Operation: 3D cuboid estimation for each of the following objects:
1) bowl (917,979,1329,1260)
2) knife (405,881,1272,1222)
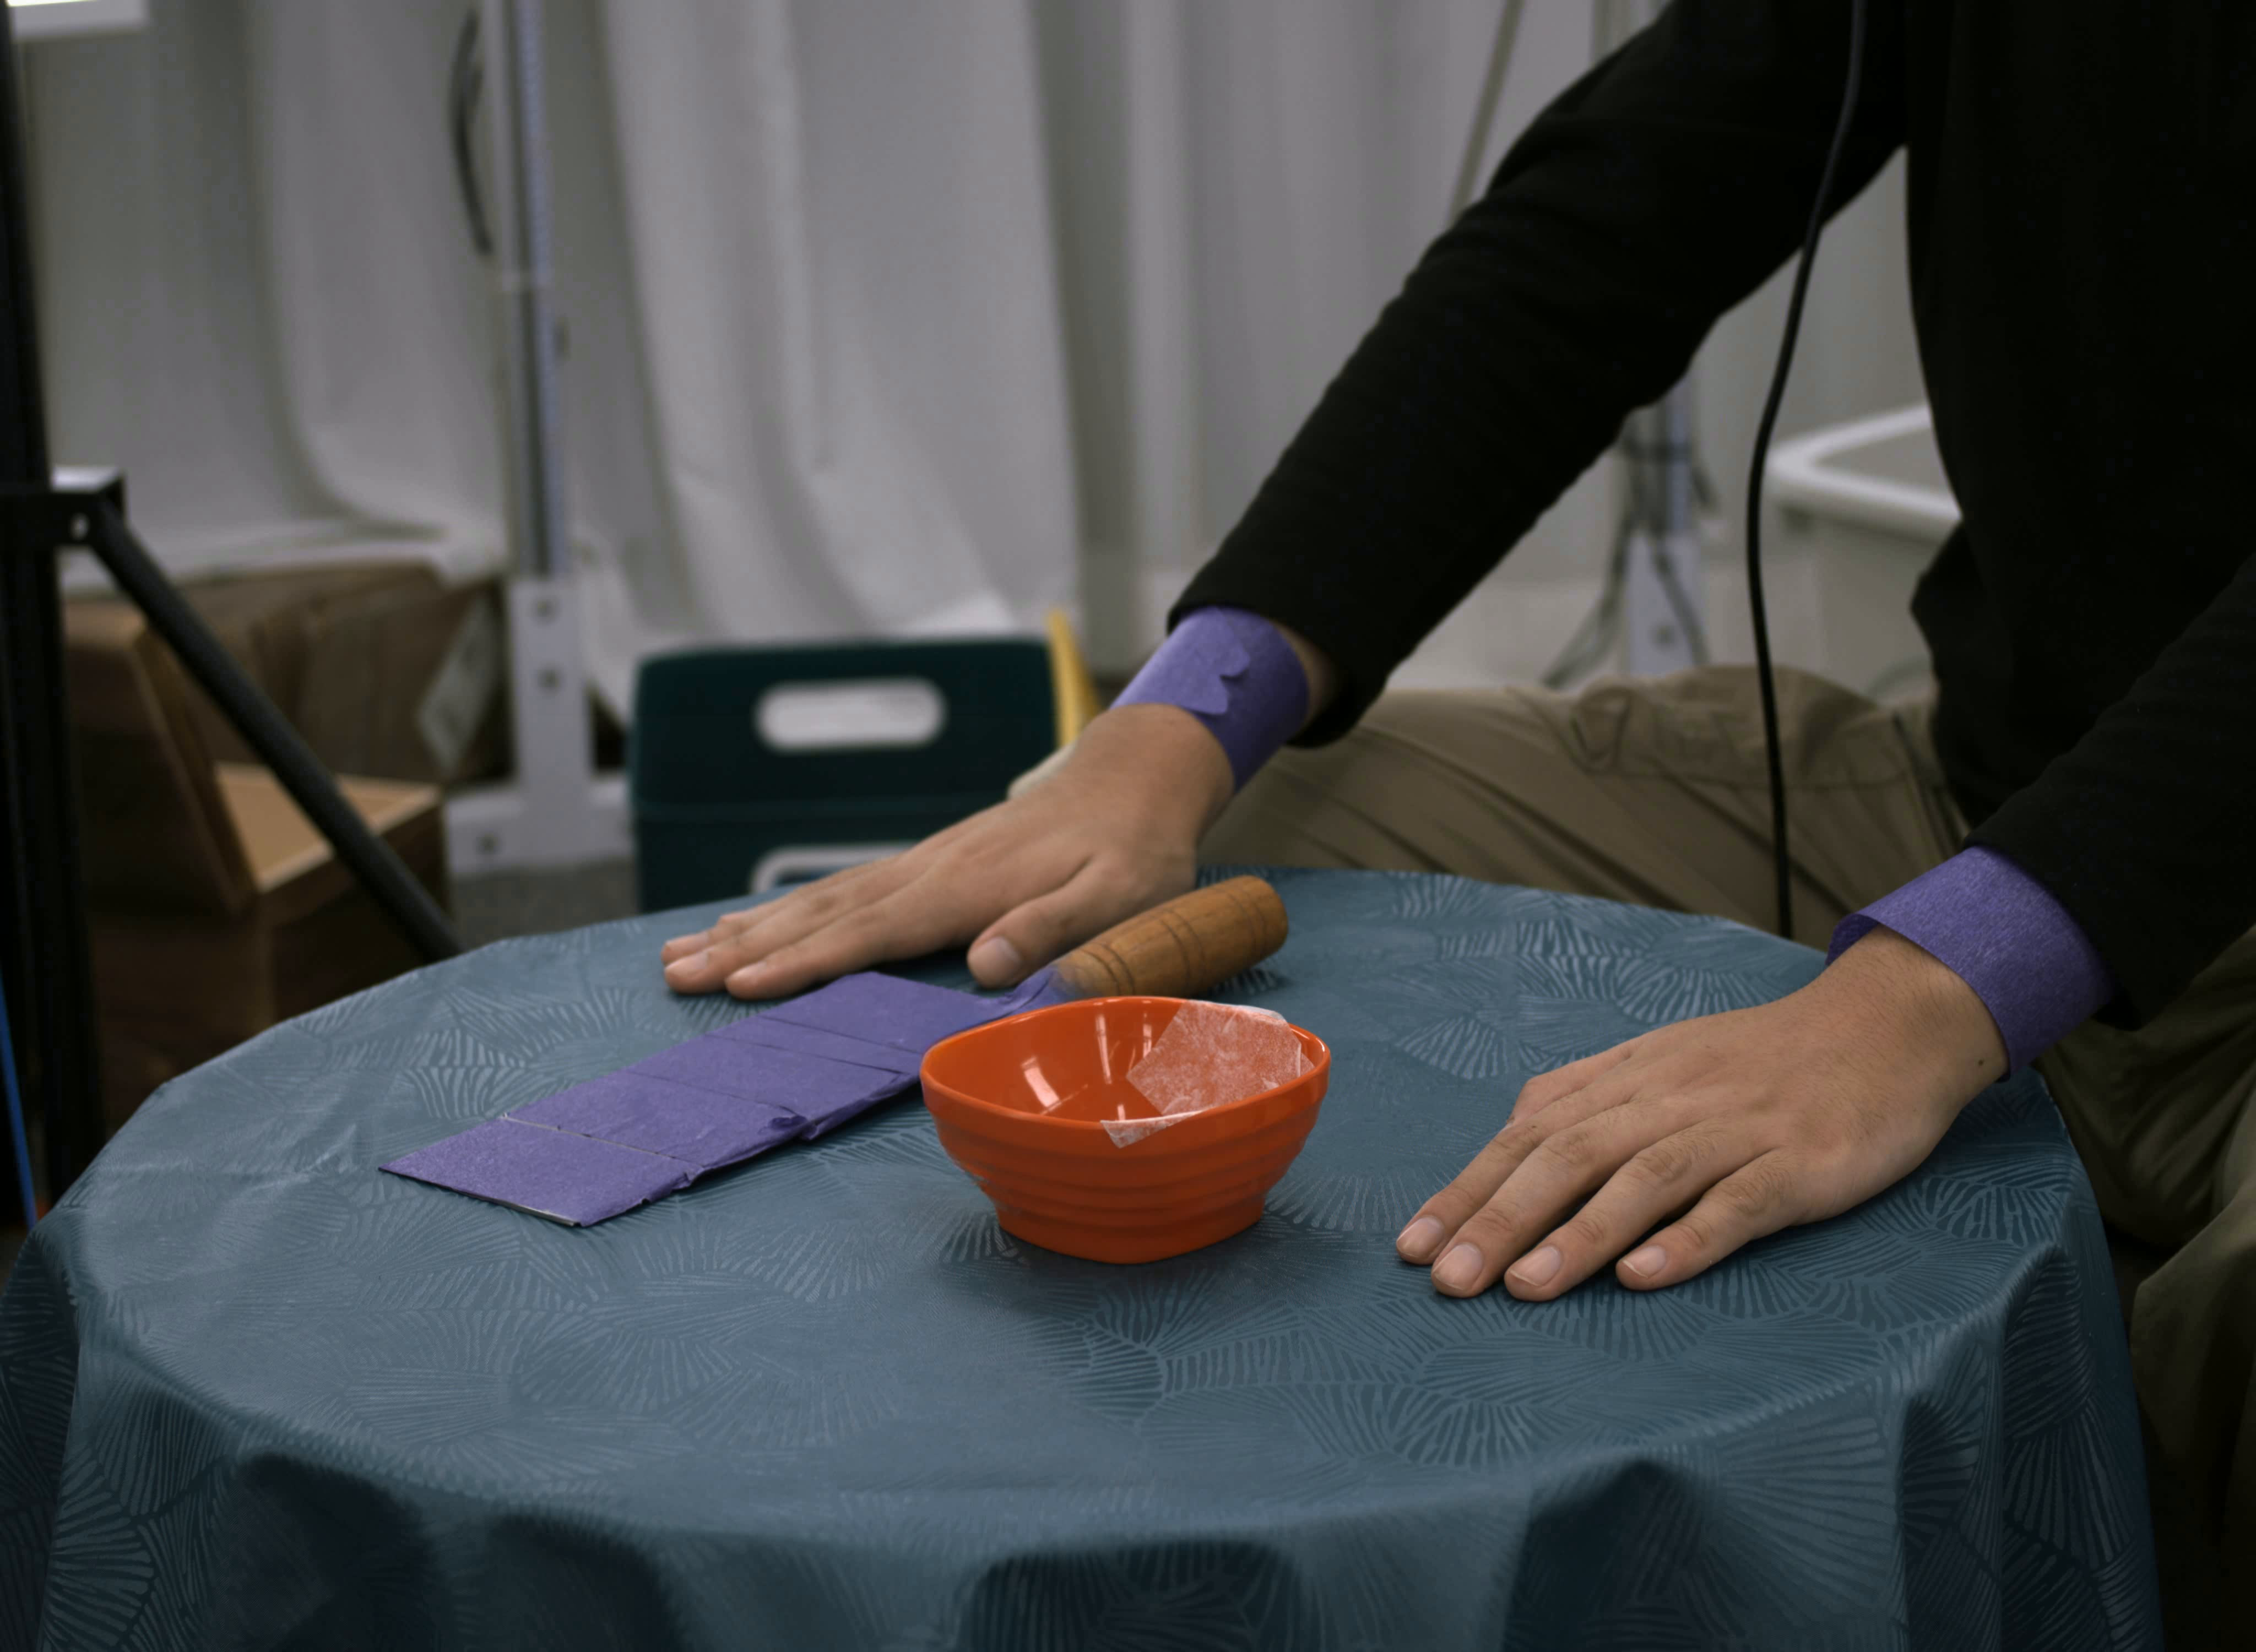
[{"bbox_3d":[0.001,0.087,1.524,0.118,0.051,0.119,-6,17,1],"label":"bowl"},{"bbox_3d":[-0.088,0.064,1.675,0.106,0.032,0.308,12,22,42],"label":"knife"}]
